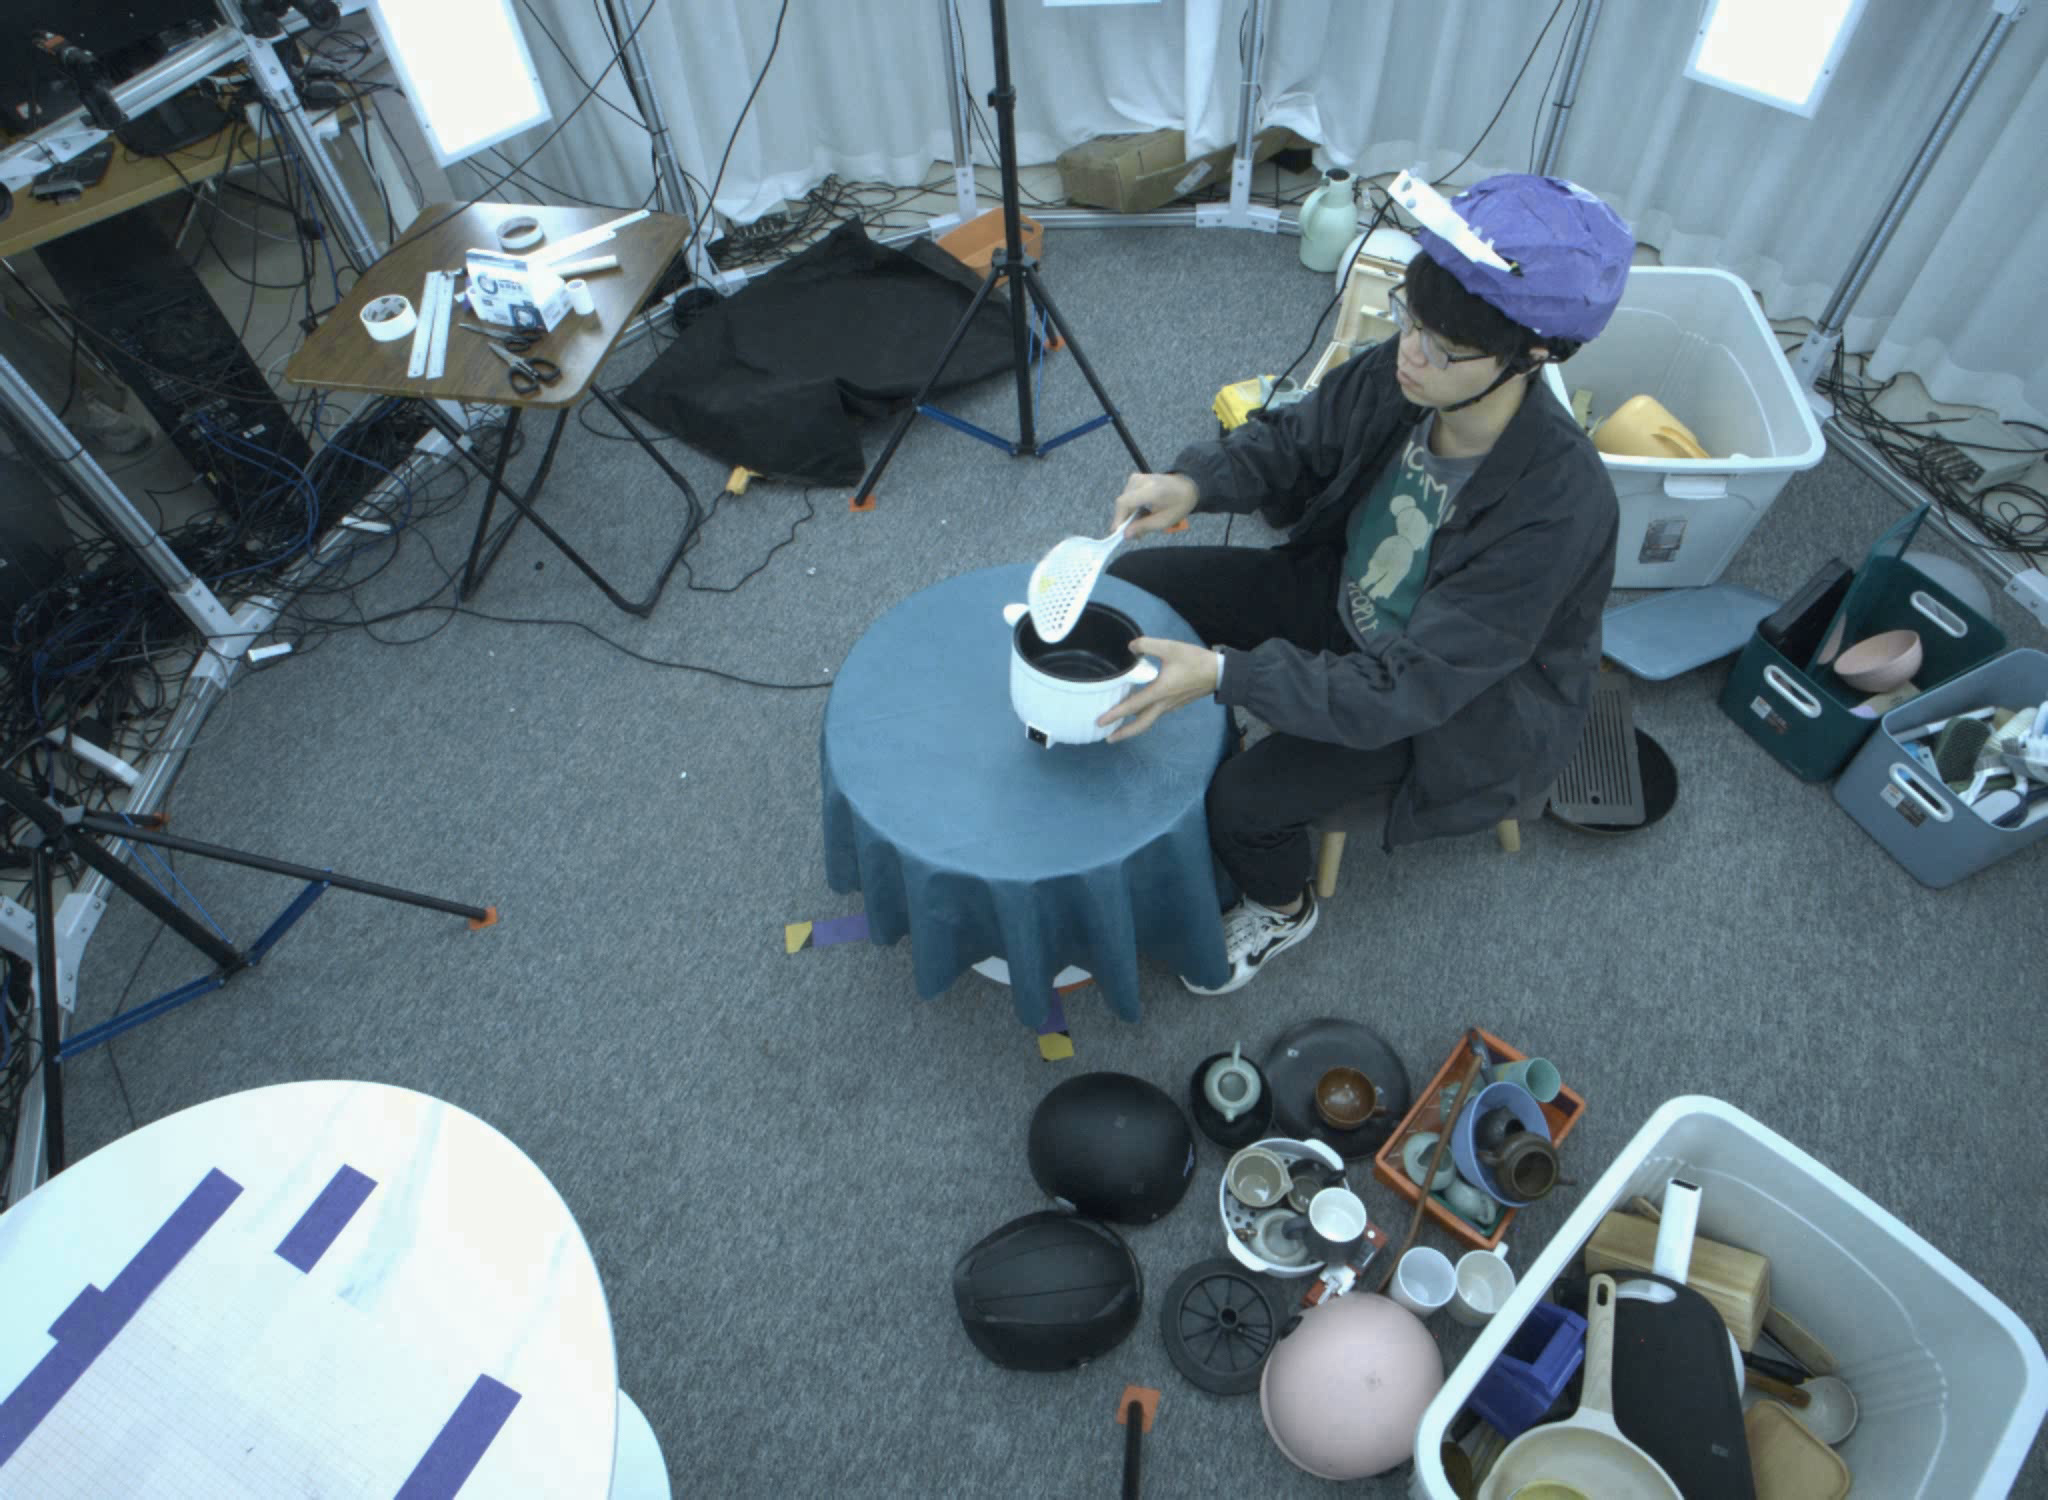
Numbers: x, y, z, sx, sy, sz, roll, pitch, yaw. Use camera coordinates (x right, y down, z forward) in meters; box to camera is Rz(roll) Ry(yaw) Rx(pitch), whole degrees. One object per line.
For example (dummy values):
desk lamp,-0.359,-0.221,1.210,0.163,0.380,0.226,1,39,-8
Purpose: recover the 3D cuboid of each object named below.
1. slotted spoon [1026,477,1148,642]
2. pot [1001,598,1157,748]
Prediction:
slotted spoon,0.096,-0.281,1.695,0.049,0.139,0.350,21,50,32
pot,0.071,-0.106,1.697,0.237,0.144,0.192,28,51,20
